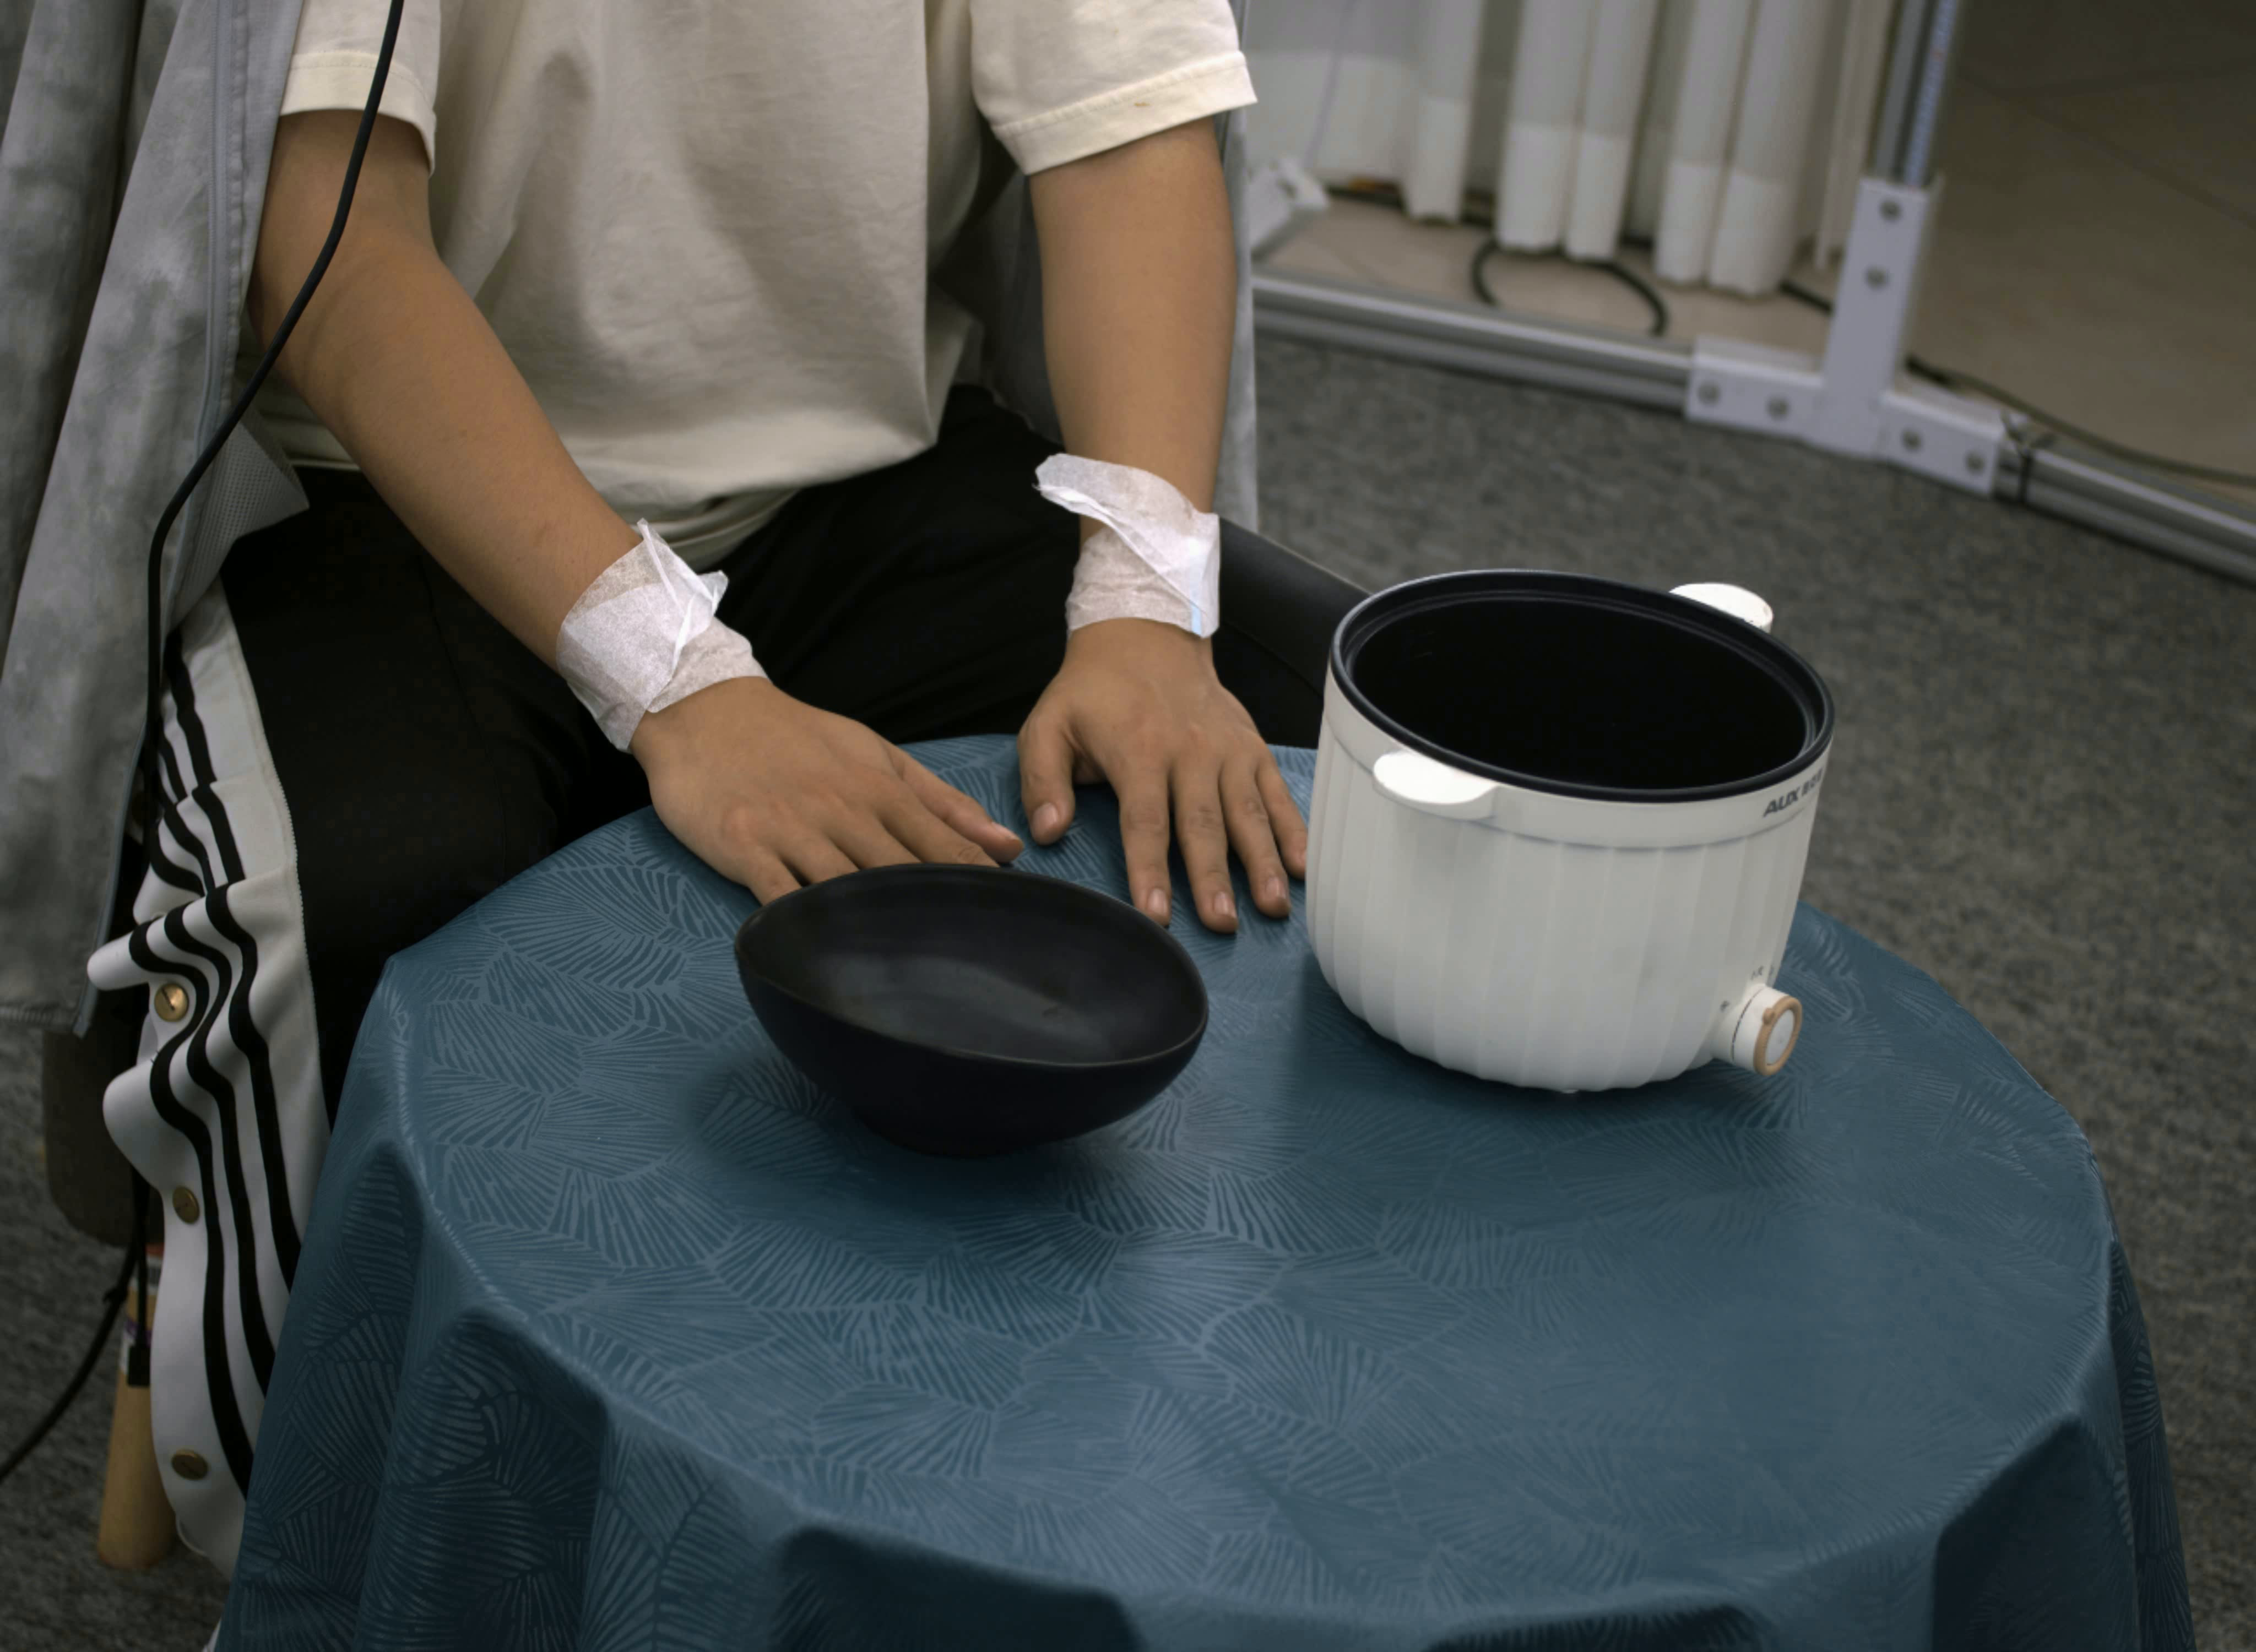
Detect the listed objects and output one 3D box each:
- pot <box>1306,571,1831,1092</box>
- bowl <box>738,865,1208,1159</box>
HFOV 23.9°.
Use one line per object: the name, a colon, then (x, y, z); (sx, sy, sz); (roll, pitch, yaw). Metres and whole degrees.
pot: (0.159, 0.007, 1.918); (0.191, 0.142, 0.240); (19, 29, 30)
bowl: (-0.057, 0.071, 1.824); (0.171, 0.066, 0.137); (16, 27, 20)
